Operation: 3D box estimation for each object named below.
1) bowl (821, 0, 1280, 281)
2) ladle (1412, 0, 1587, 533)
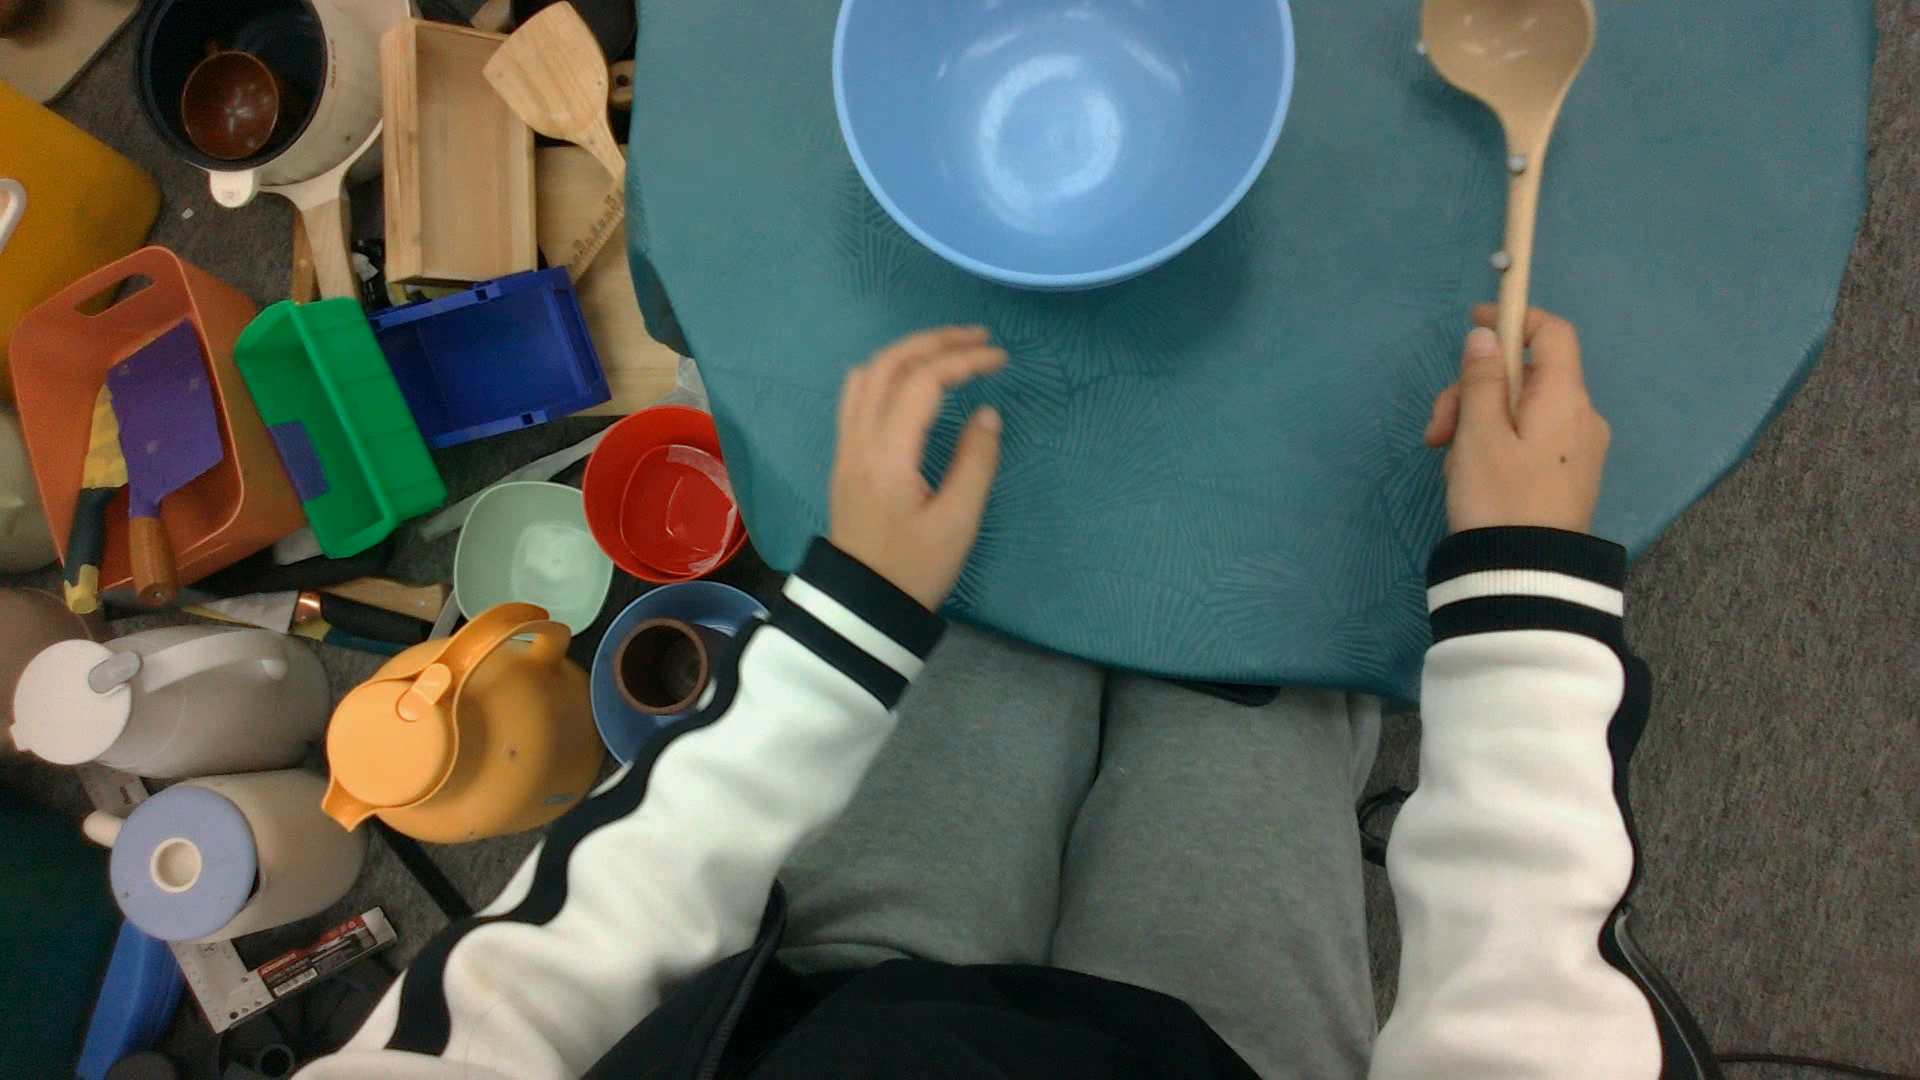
[{"bbox_3d":[0.041,-0.202,0.633,0.196,0.095,0.197,-1,80,4],"label":"bowl"},{"bbox_3d":[0.222,-0.134,0.584,0.073,0.072,0.255,18,75,-39],"label":"ladle"}]
